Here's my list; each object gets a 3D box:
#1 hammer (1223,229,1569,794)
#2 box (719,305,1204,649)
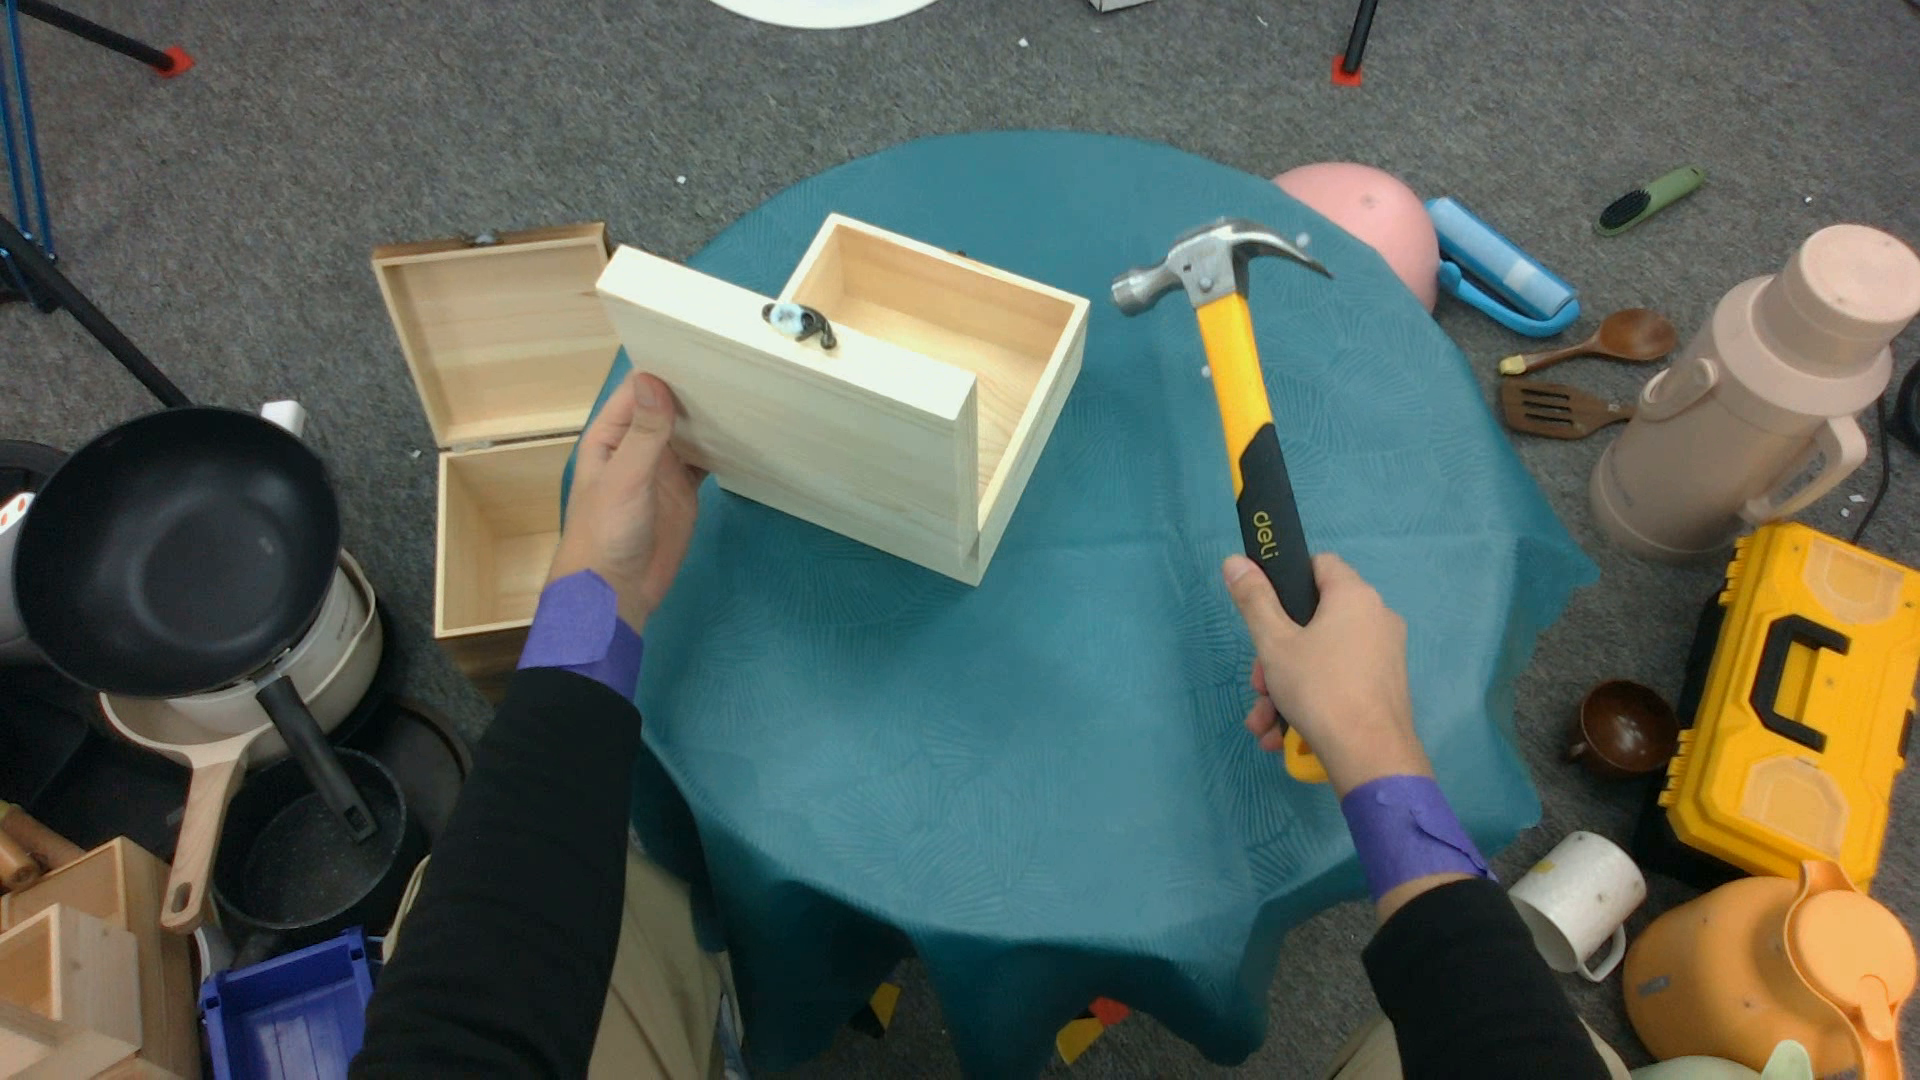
[{"bbox_3d":[0.250,-0.025,0.761,0.131,0.032,0.339,-35,59,39],"label":"hammer"},{"bbox_3d":[0.025,-0.060,0.782,0.181,0.252,0.266,11,61,15],"label":"box"}]
